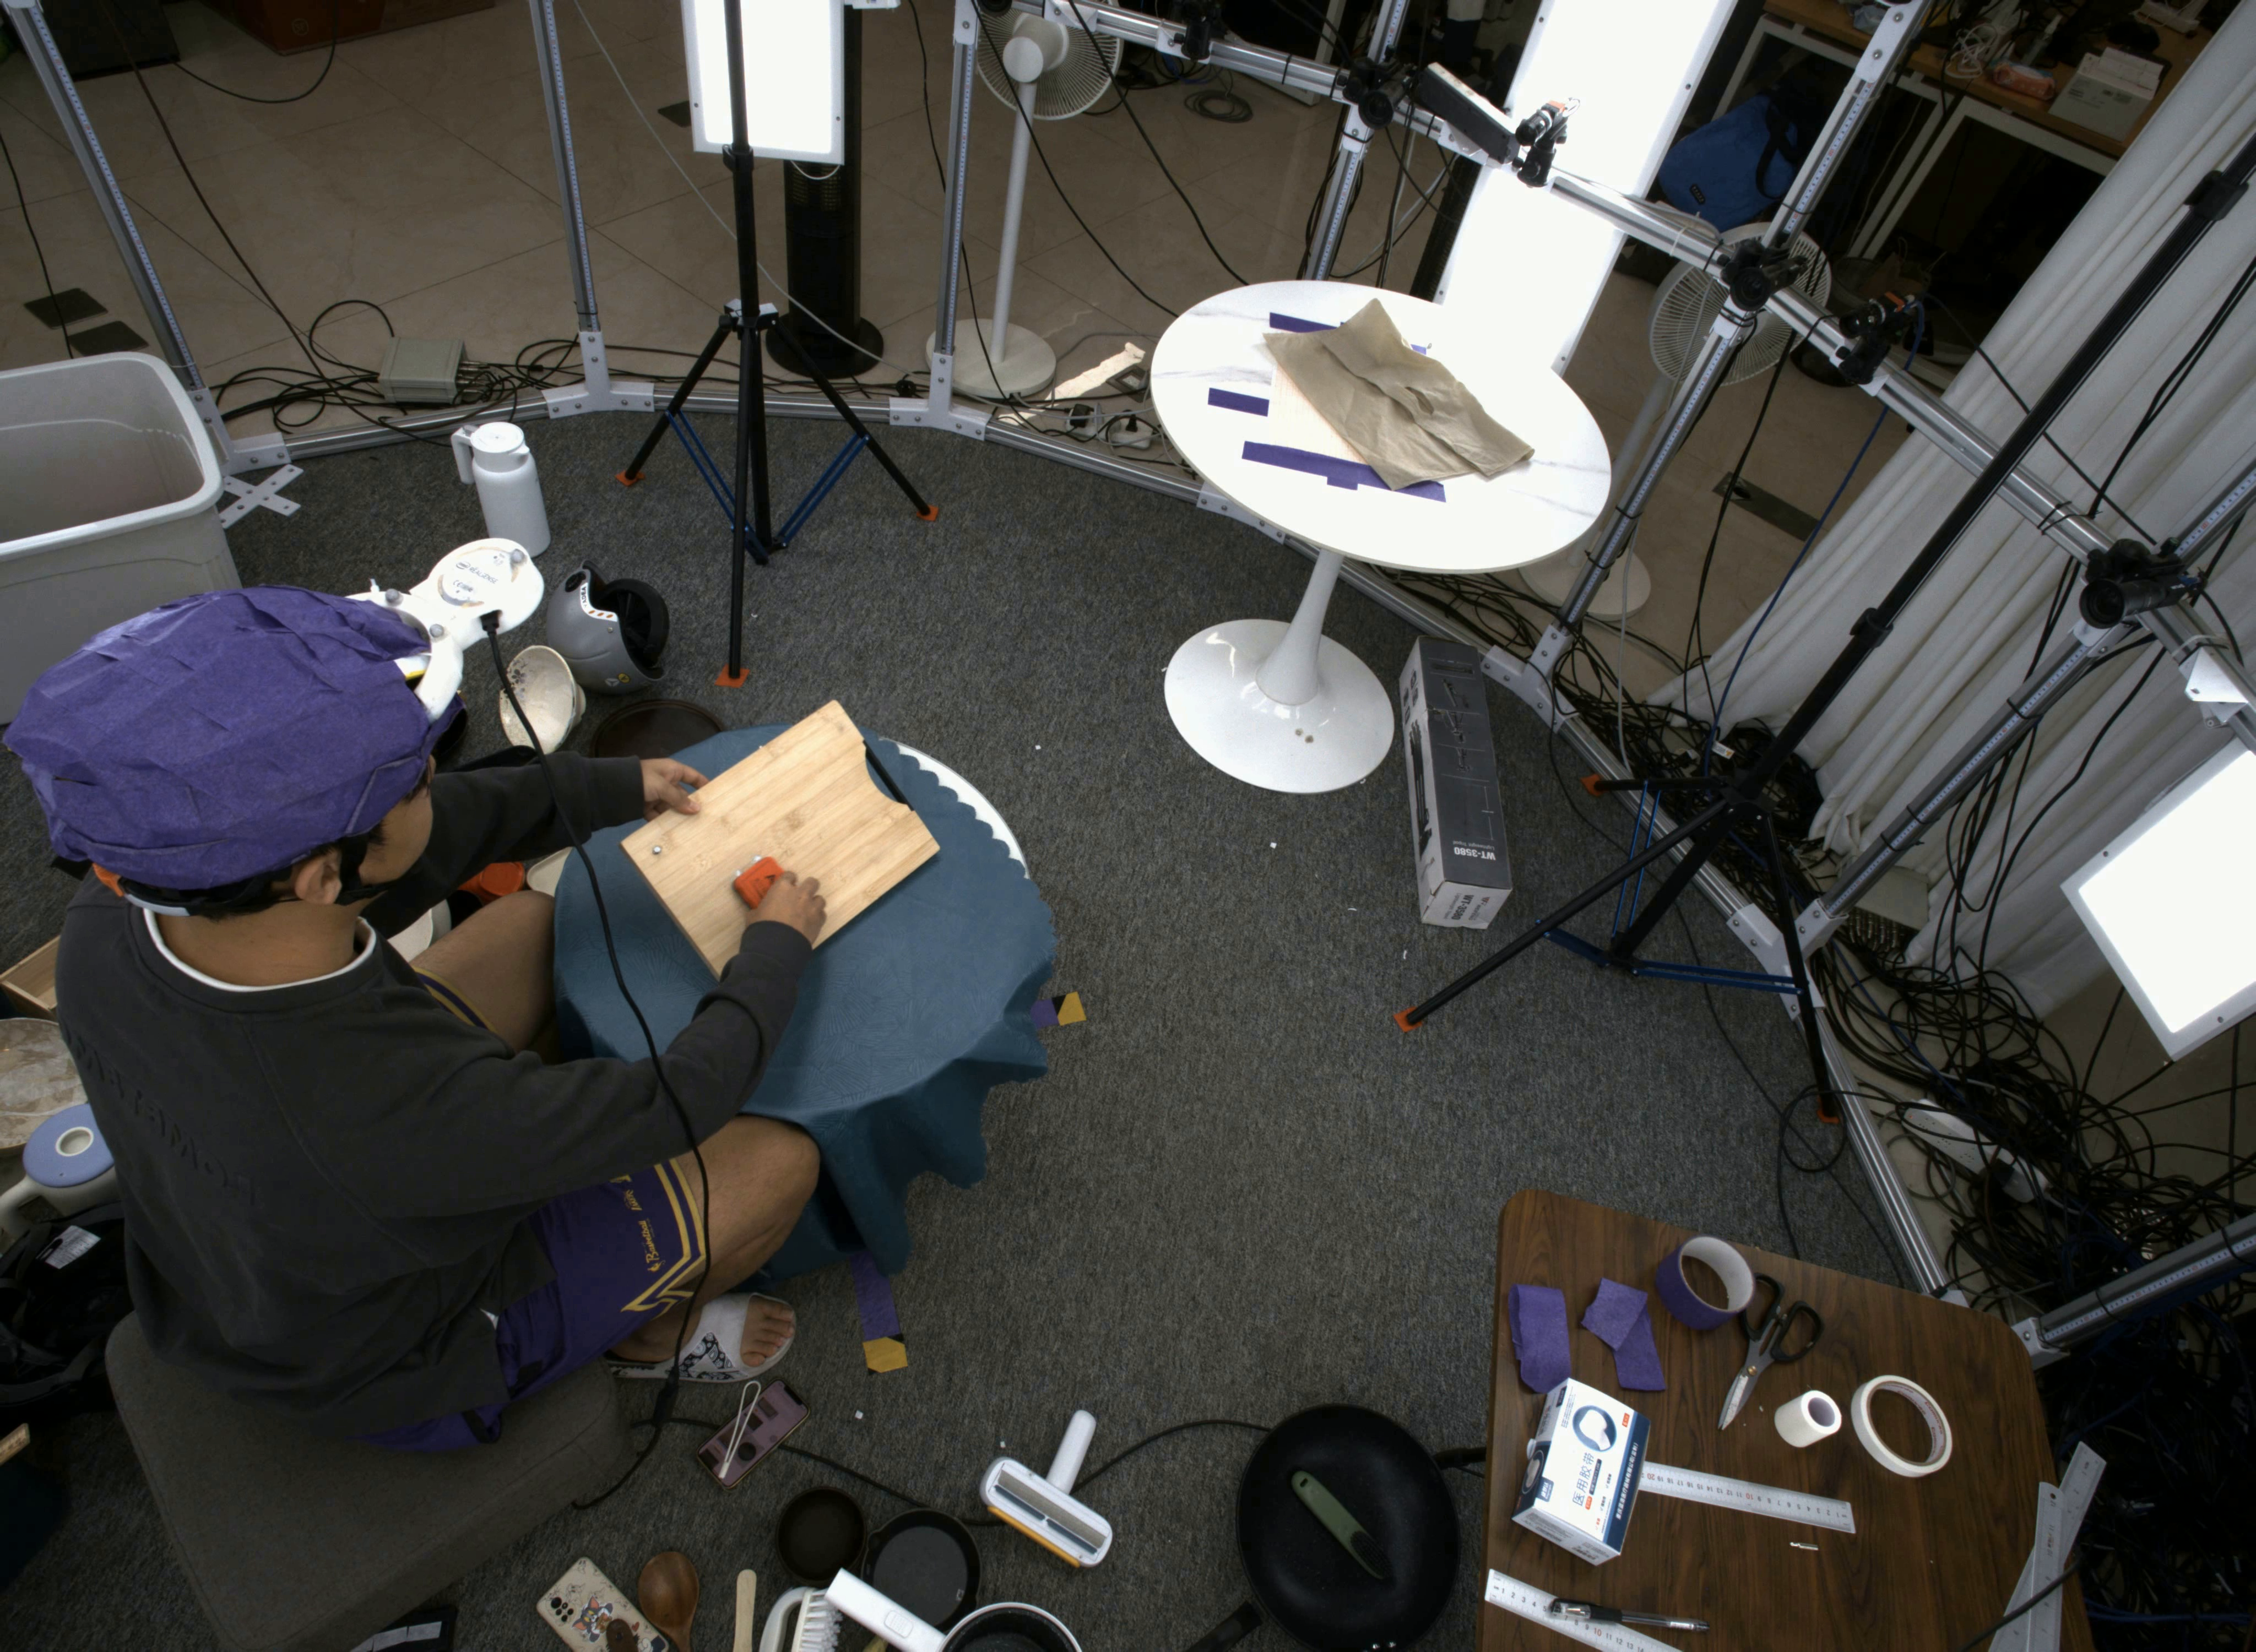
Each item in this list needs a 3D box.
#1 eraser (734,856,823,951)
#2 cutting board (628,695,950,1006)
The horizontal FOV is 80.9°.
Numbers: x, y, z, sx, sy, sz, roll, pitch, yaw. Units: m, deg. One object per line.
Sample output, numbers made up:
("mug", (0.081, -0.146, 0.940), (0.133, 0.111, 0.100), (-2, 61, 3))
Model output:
("eraser", (-0.424, 0.092, 1.572), (0.110, 0.022, 0.059), (53, 51, -12))
("cutting board", (-0.416, 0.022, 1.622), (0.349, 0.023, 0.256), (-42, 106, -34))
